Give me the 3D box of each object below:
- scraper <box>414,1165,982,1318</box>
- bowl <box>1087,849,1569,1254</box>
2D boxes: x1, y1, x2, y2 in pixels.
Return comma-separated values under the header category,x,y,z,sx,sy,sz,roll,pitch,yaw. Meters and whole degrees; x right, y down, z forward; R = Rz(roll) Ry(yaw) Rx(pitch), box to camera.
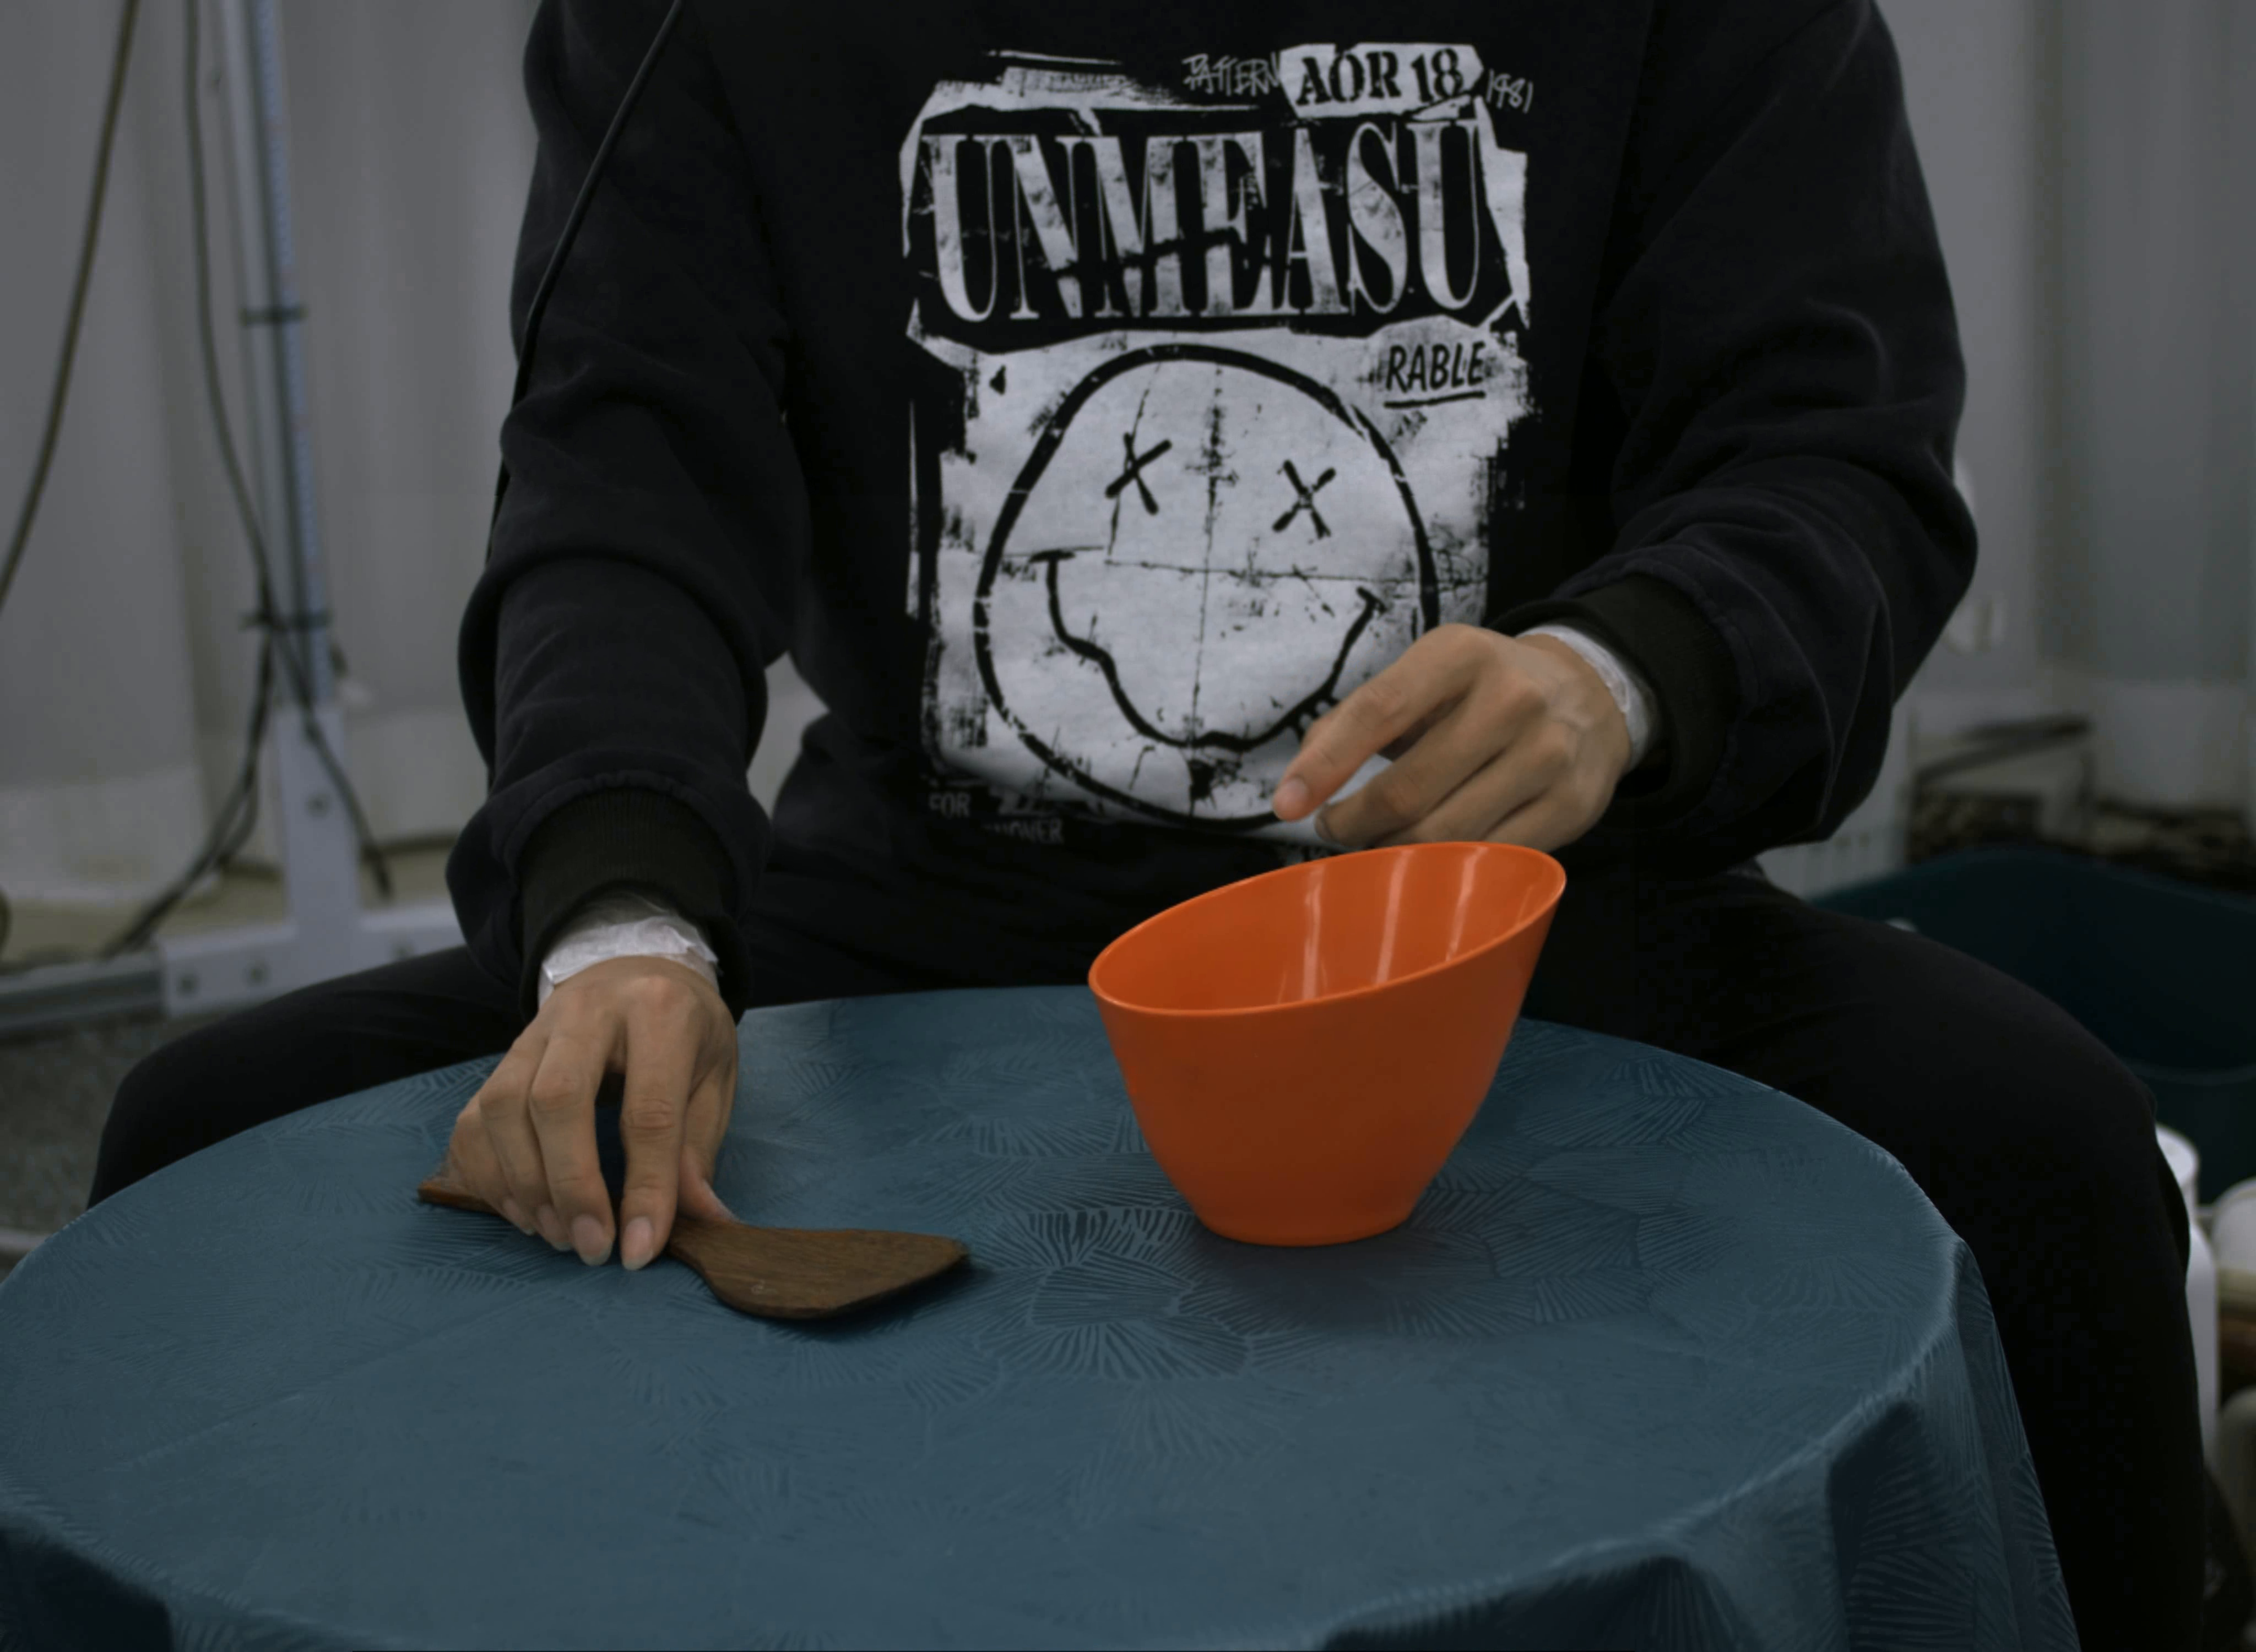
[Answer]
category,x,y,z,sx,sy,sz,roll,pitch,yaw
scraper,-0.141,0.126,1.686,0.212,0.011,0.076,9,17,40
bowl,0.062,0.071,1.673,0.147,0.104,0.149,-3,15,0
